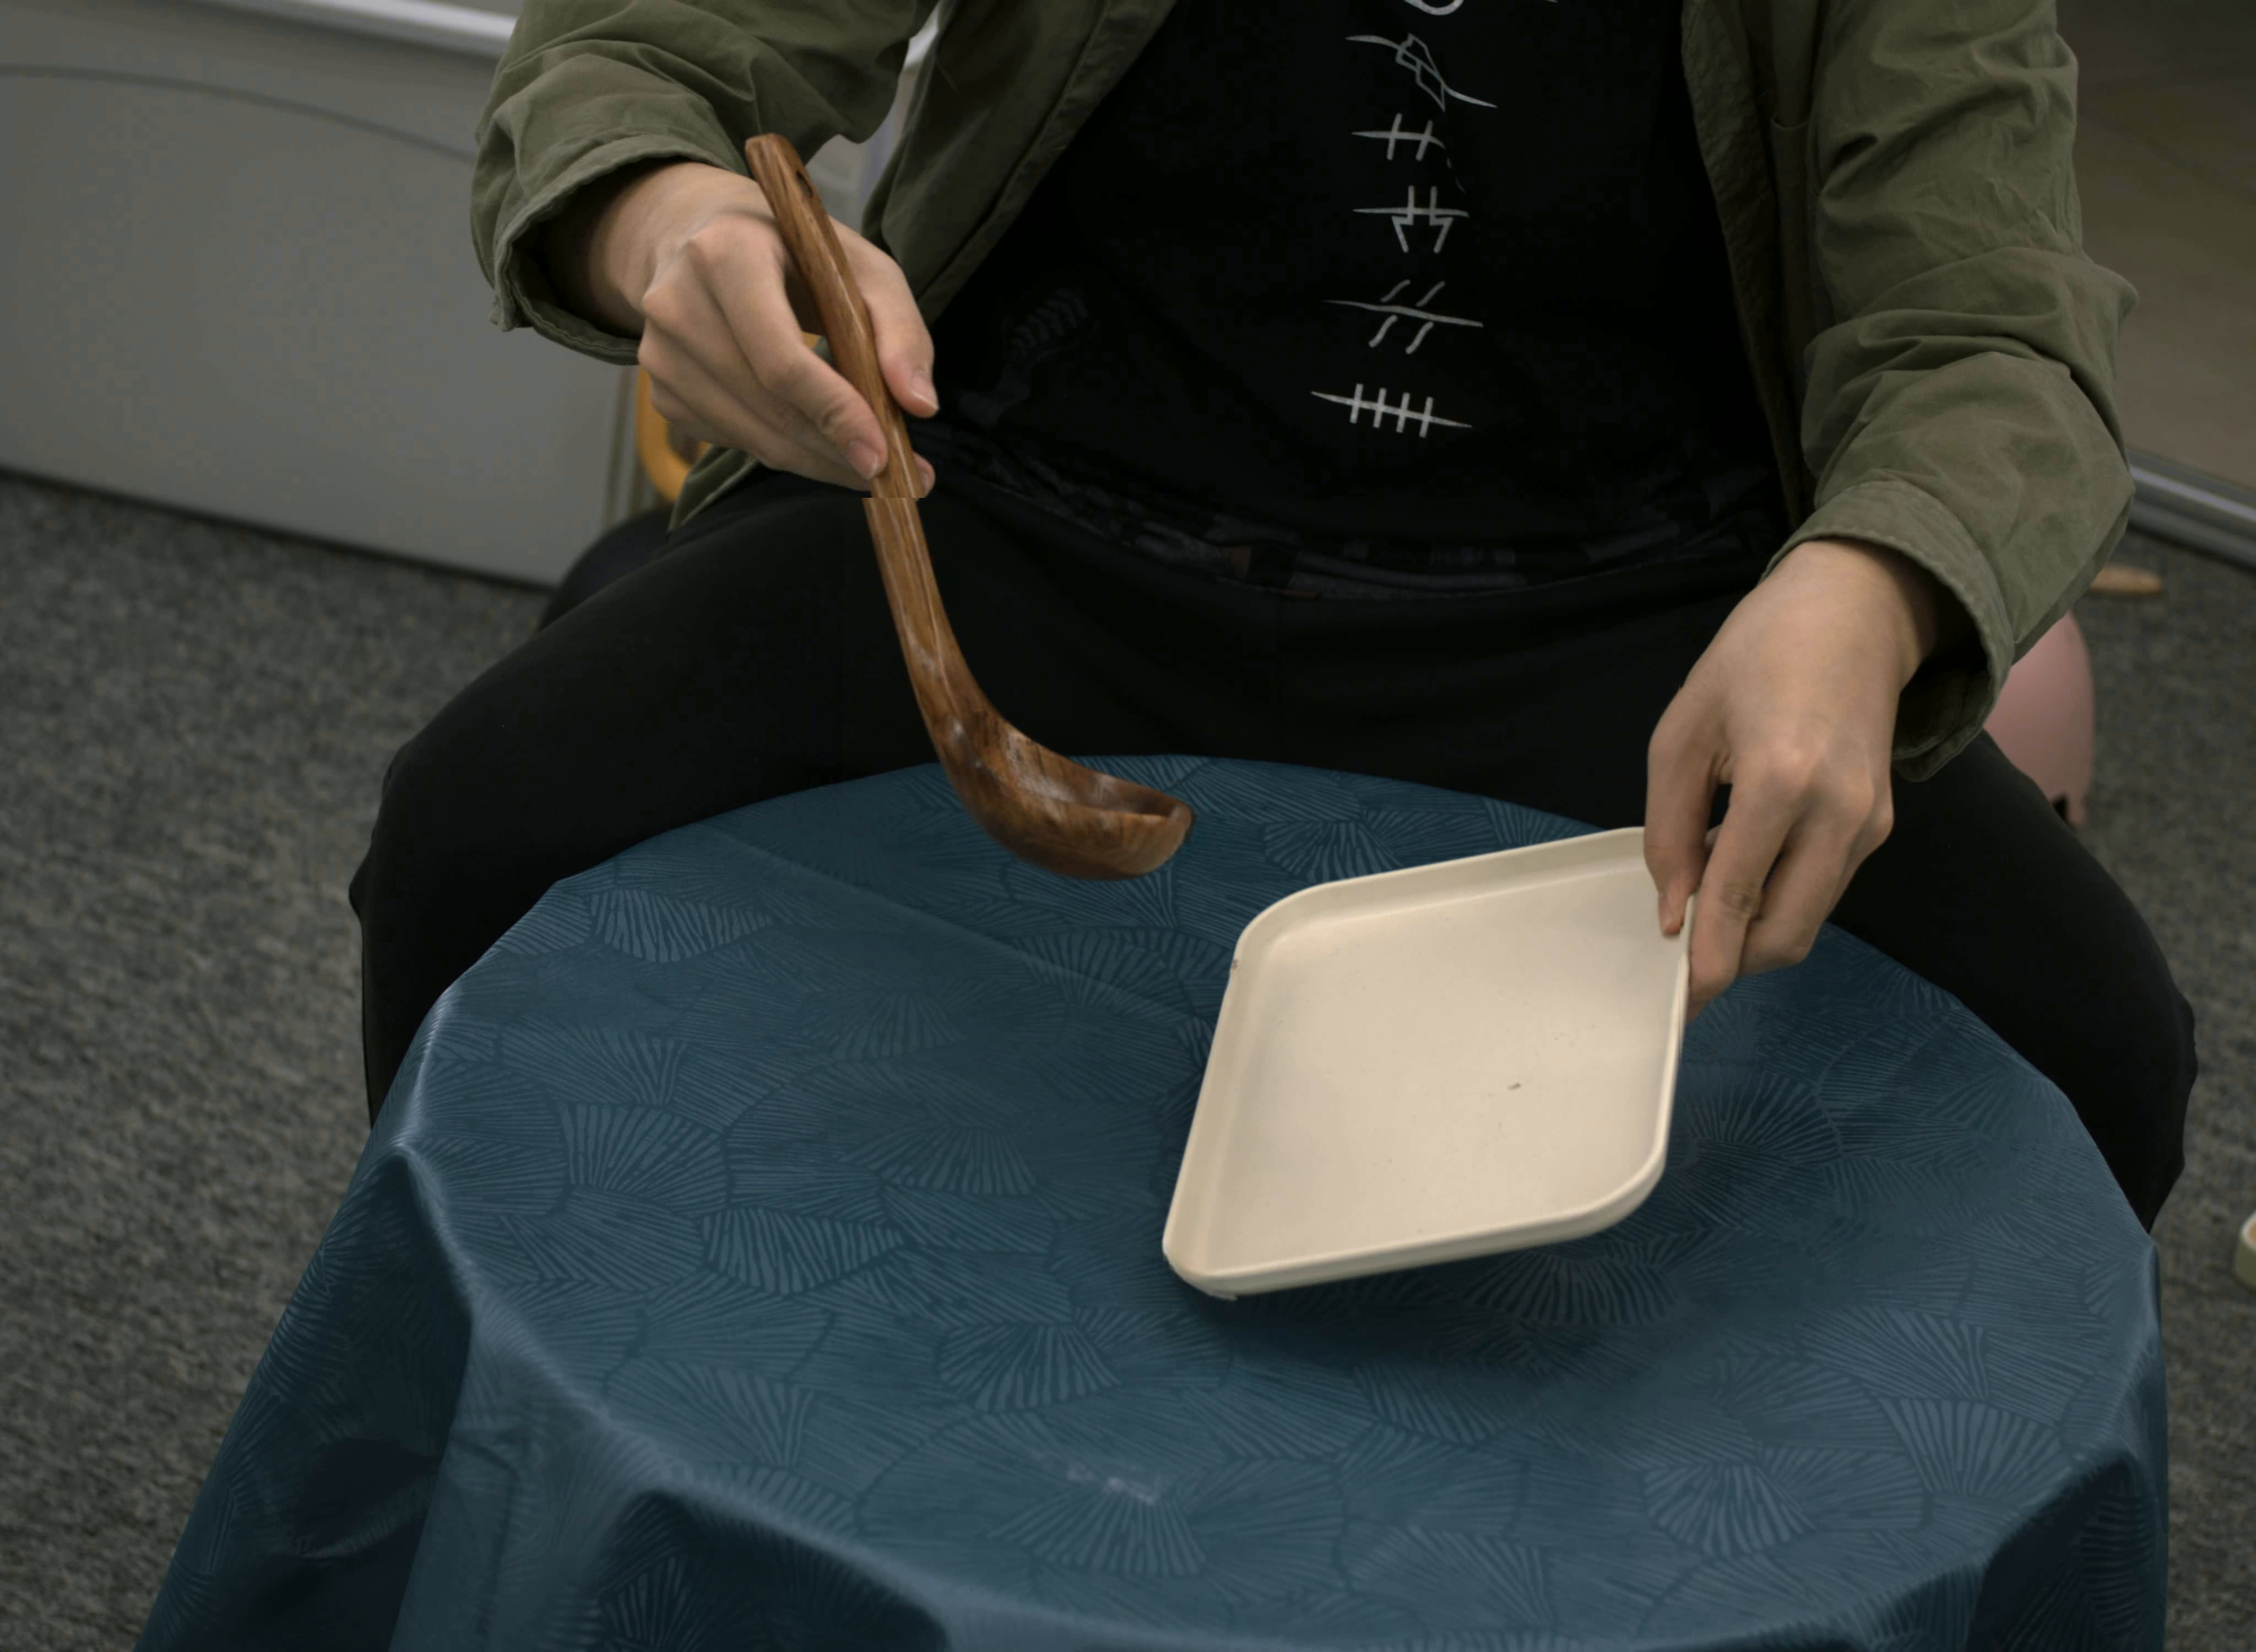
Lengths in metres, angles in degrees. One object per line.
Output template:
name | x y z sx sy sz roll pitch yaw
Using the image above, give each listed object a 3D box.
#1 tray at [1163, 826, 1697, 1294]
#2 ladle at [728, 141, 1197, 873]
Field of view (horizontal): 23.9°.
tray | 0.106 0.078 1.794 0.171 0.017 0.241 -11 28 17
ladle | -0.054 -0.110 1.752 0.076 0.275 0.081 -21 -6 12
